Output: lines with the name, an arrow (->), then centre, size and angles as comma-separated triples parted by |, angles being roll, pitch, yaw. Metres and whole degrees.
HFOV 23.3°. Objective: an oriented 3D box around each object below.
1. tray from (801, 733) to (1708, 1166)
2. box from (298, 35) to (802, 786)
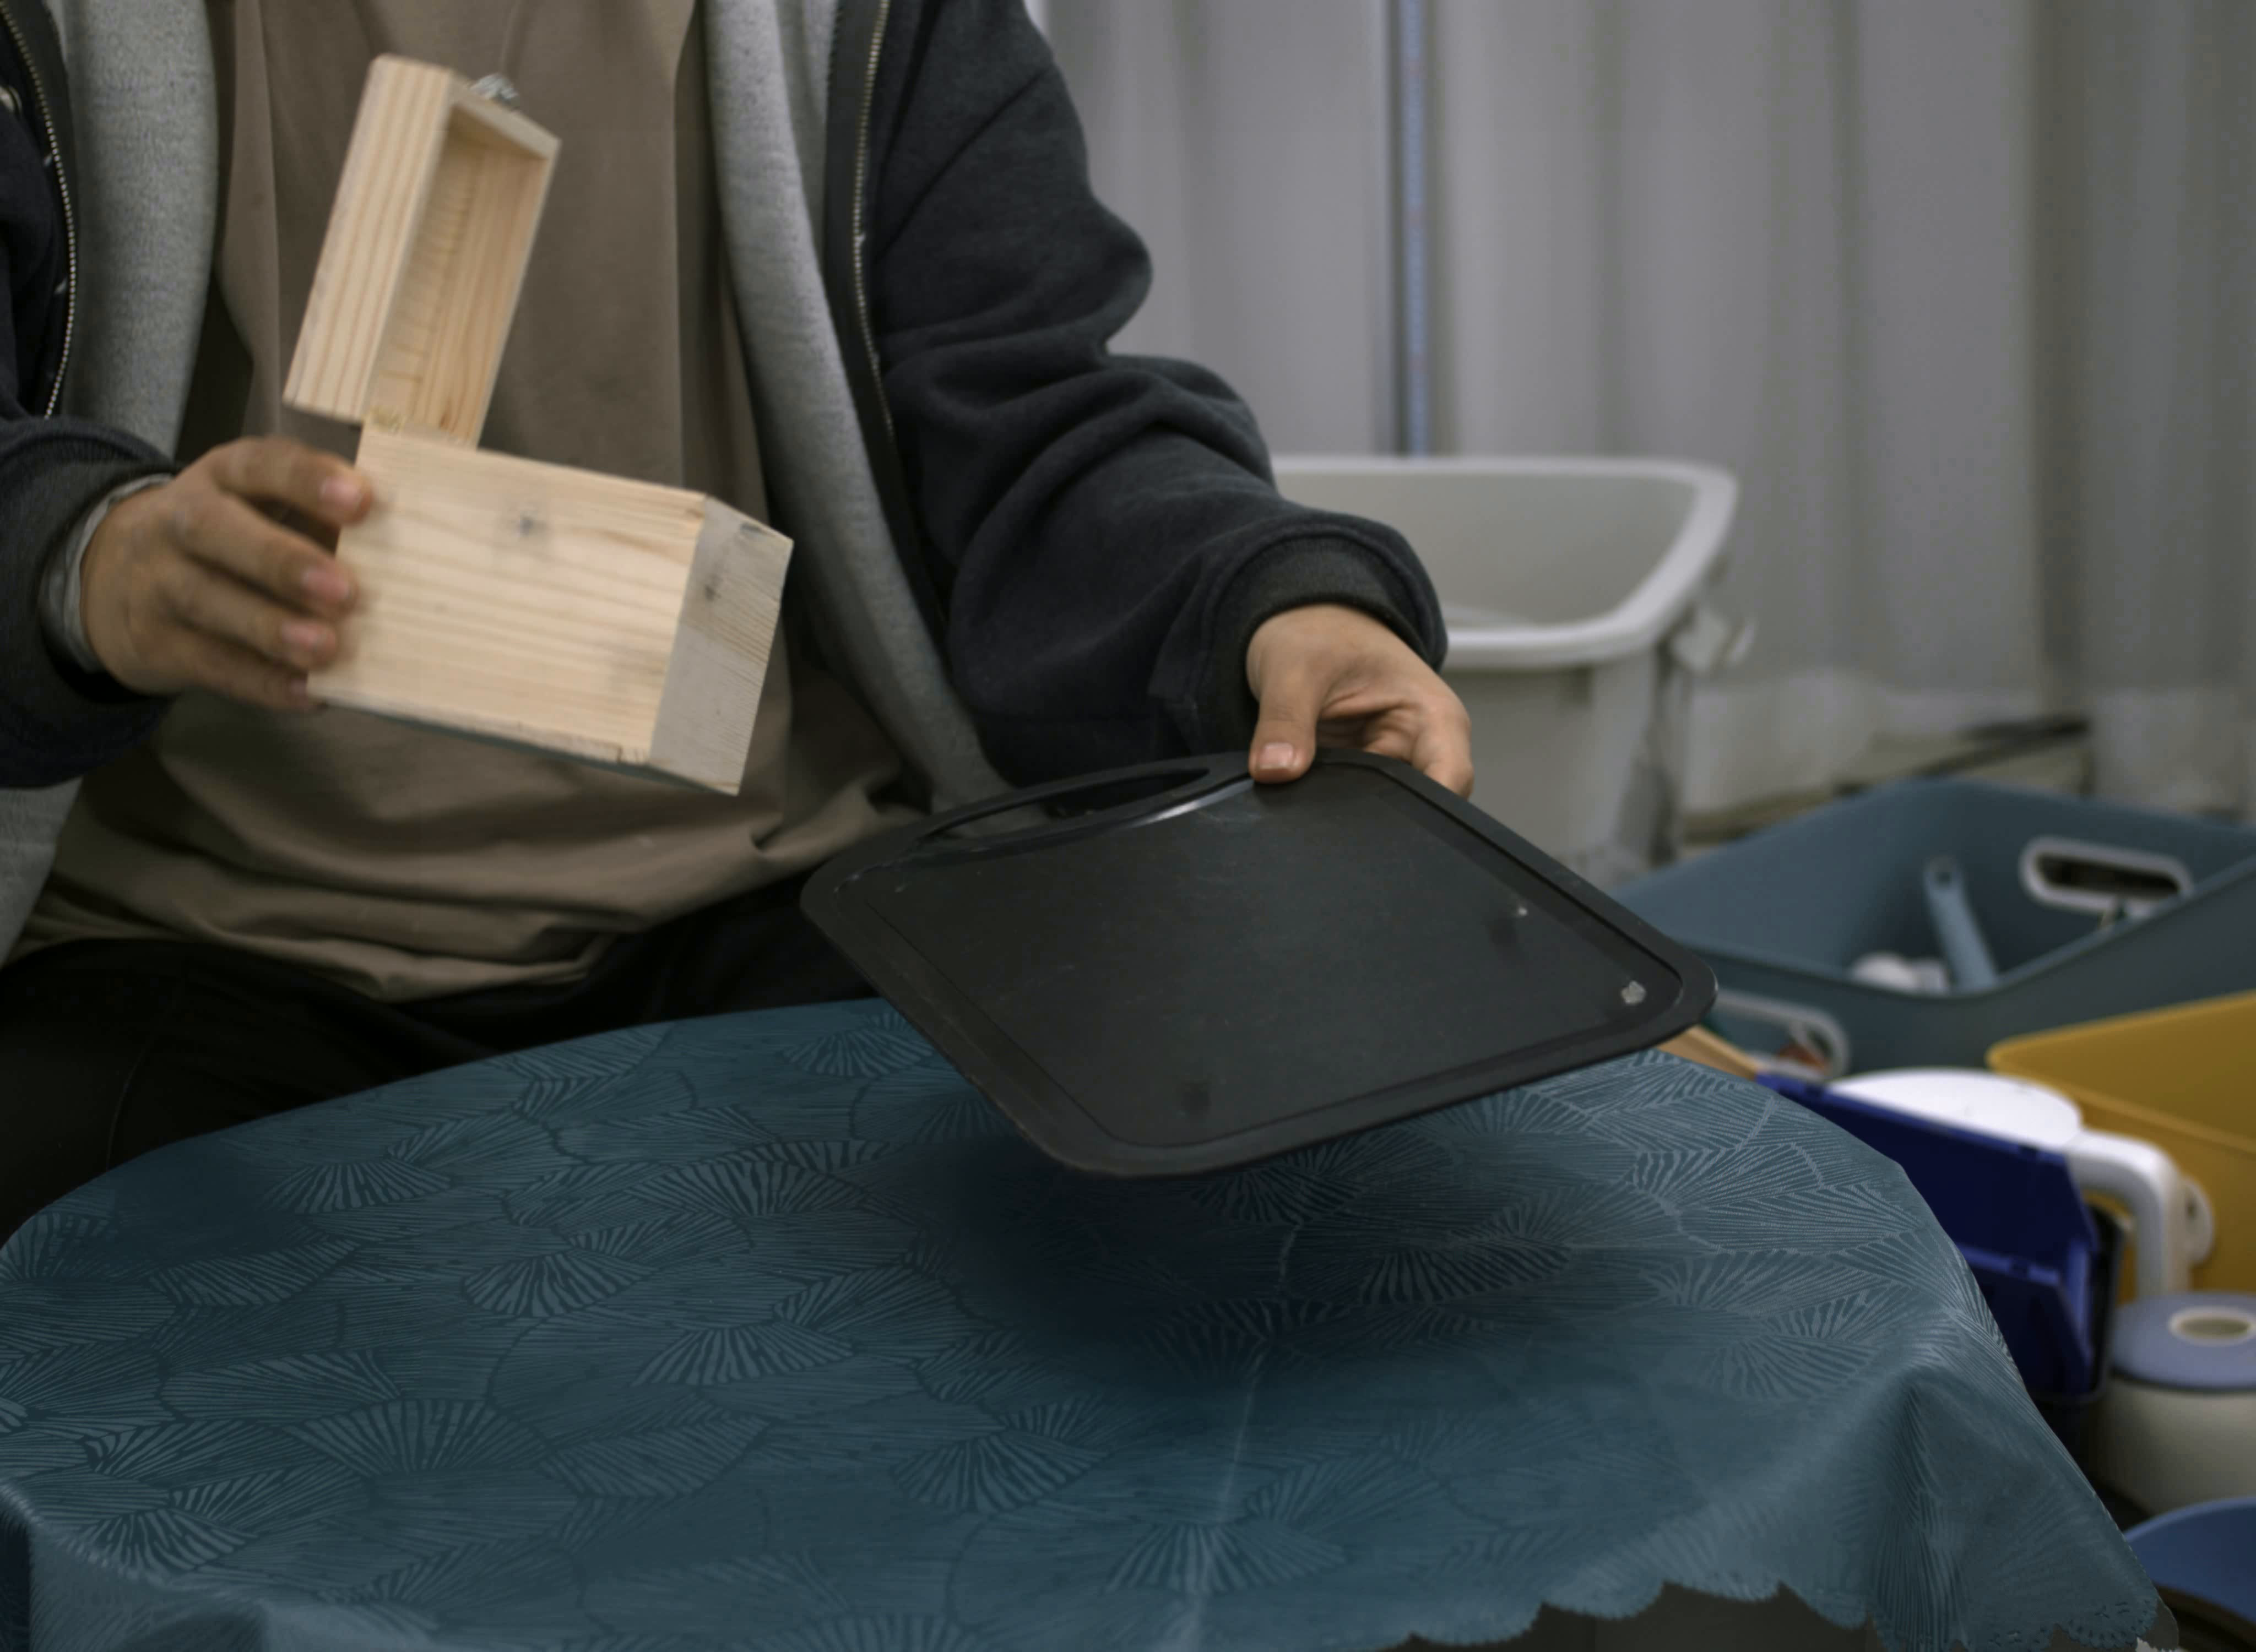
tray -> 0.027, 0.029, 1.677 | 0.210, 0.010, 0.328 | -15, 22, -16
box -> -0.158, -0.118, 1.563 | 0.134, 0.185, 0.102 | 12, -4, 12
